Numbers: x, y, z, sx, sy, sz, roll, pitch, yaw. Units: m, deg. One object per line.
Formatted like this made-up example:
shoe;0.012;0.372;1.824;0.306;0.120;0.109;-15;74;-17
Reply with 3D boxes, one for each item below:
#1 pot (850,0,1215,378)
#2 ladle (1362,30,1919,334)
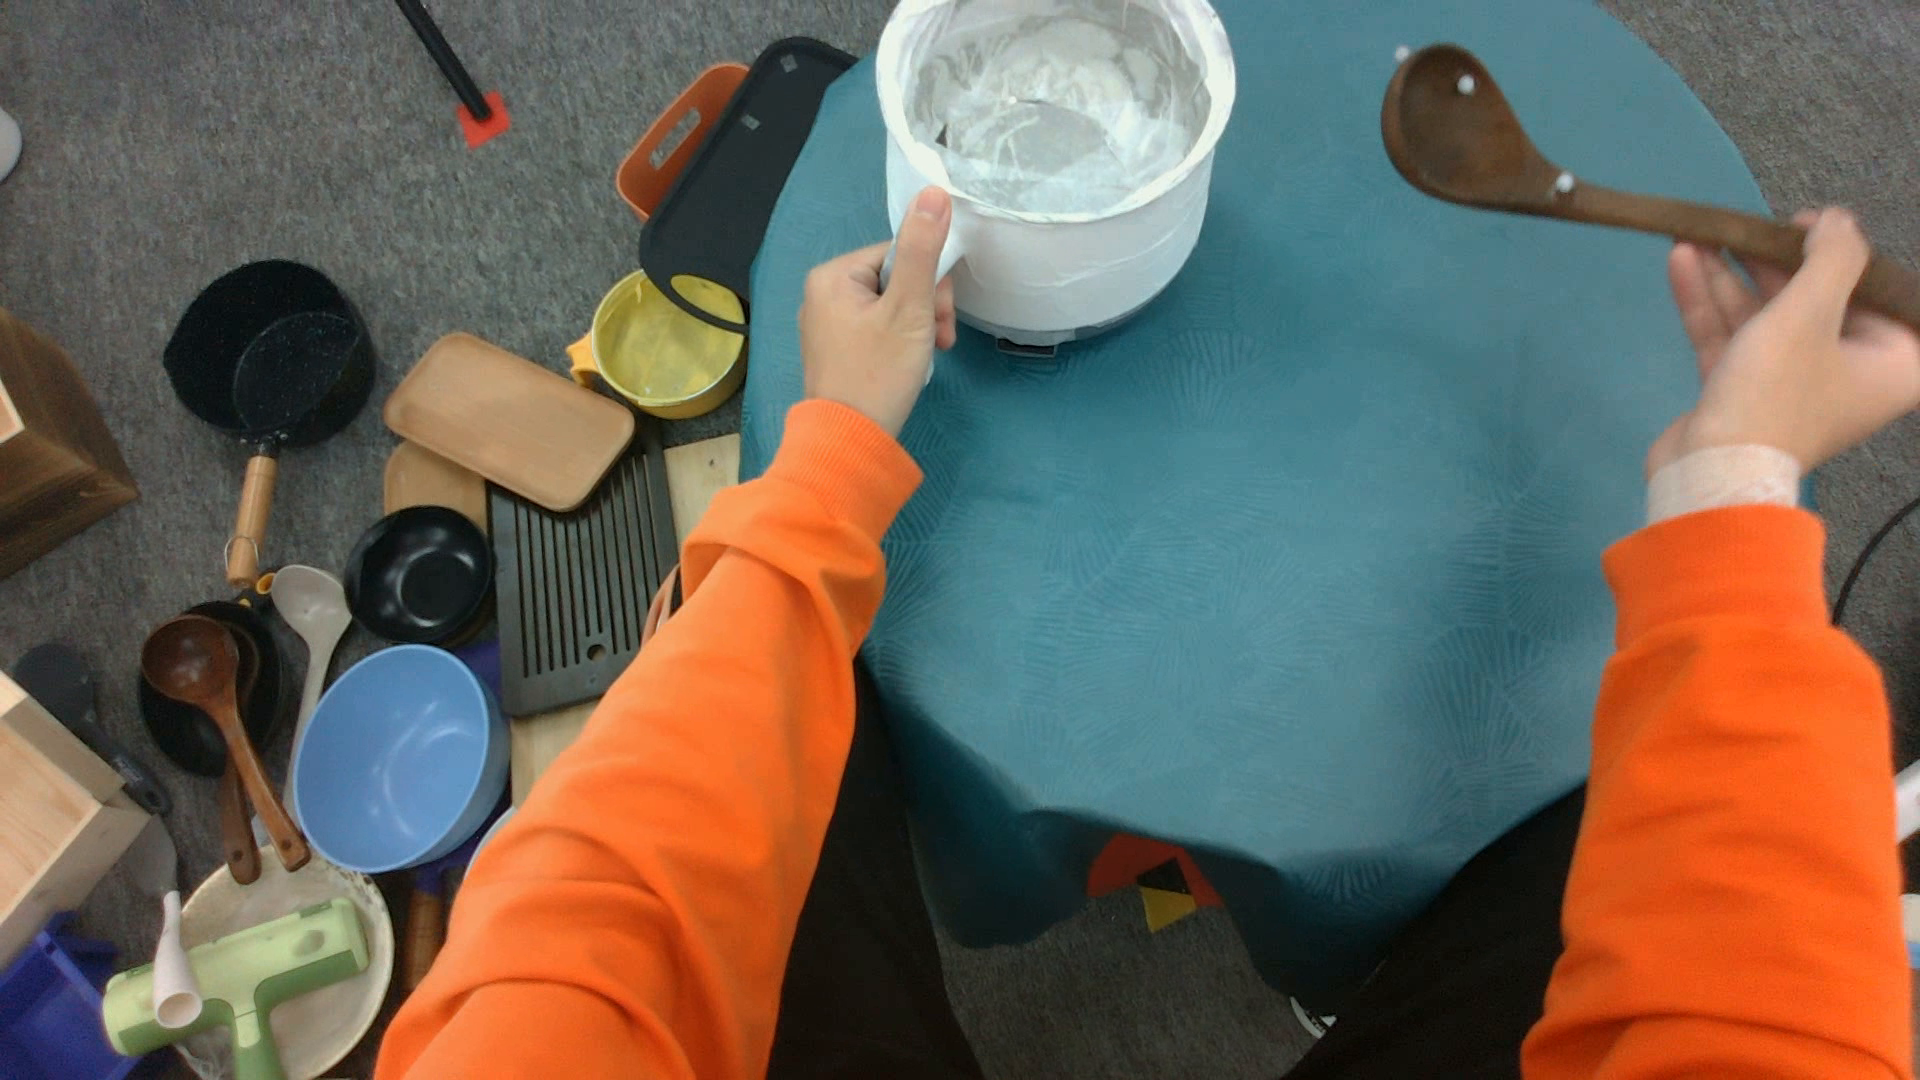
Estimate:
pot;0.023;-0.194;0.731;0.179;0.136;0.234;33;71;13
ladle;0.310;-0.161;0.612;0.274;0.071;0.076;29;71;30
